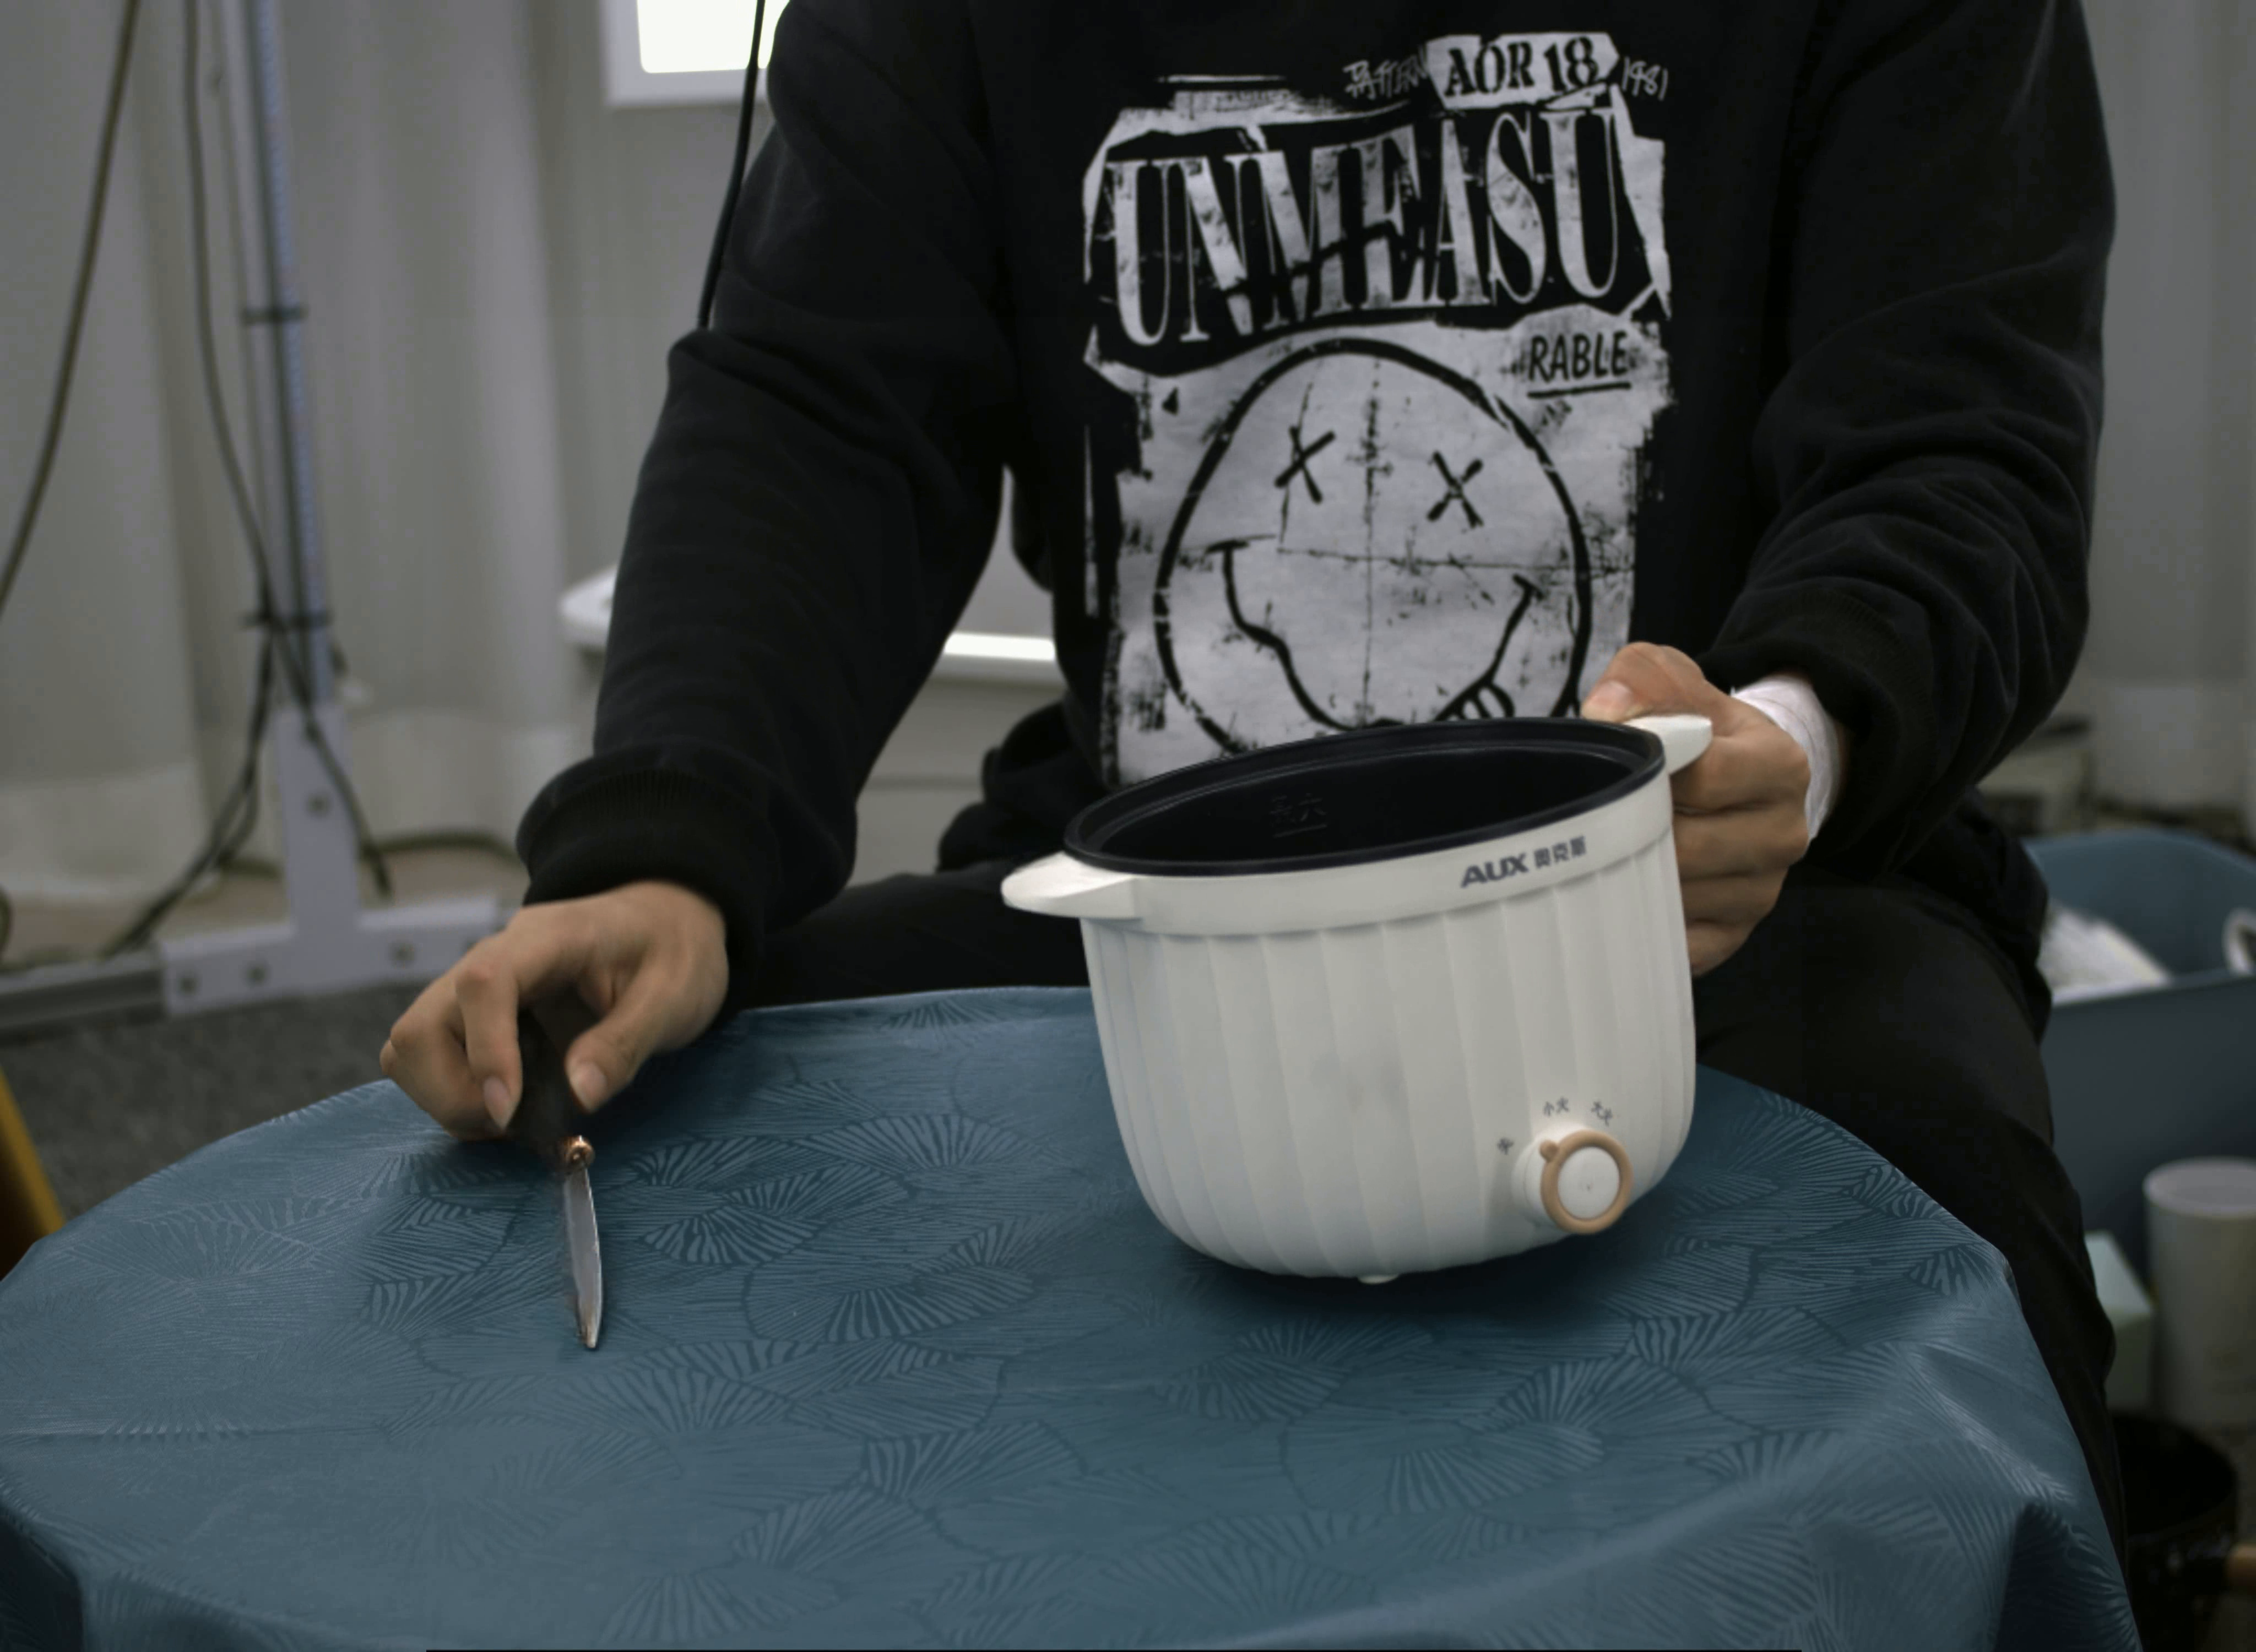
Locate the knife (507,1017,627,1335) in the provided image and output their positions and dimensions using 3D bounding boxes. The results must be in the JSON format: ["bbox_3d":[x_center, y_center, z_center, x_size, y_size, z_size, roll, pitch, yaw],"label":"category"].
[{"bbox_3d":[-0.175,0.109,1.696,0.026,0.017,0.228,-31,24,2],"label":"knife"}]

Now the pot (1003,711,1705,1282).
[{"bbox_3d":[0.083,0.053,1.635,0.240,0.142,0.191,-16,9,-26],"label":"pot"}]
